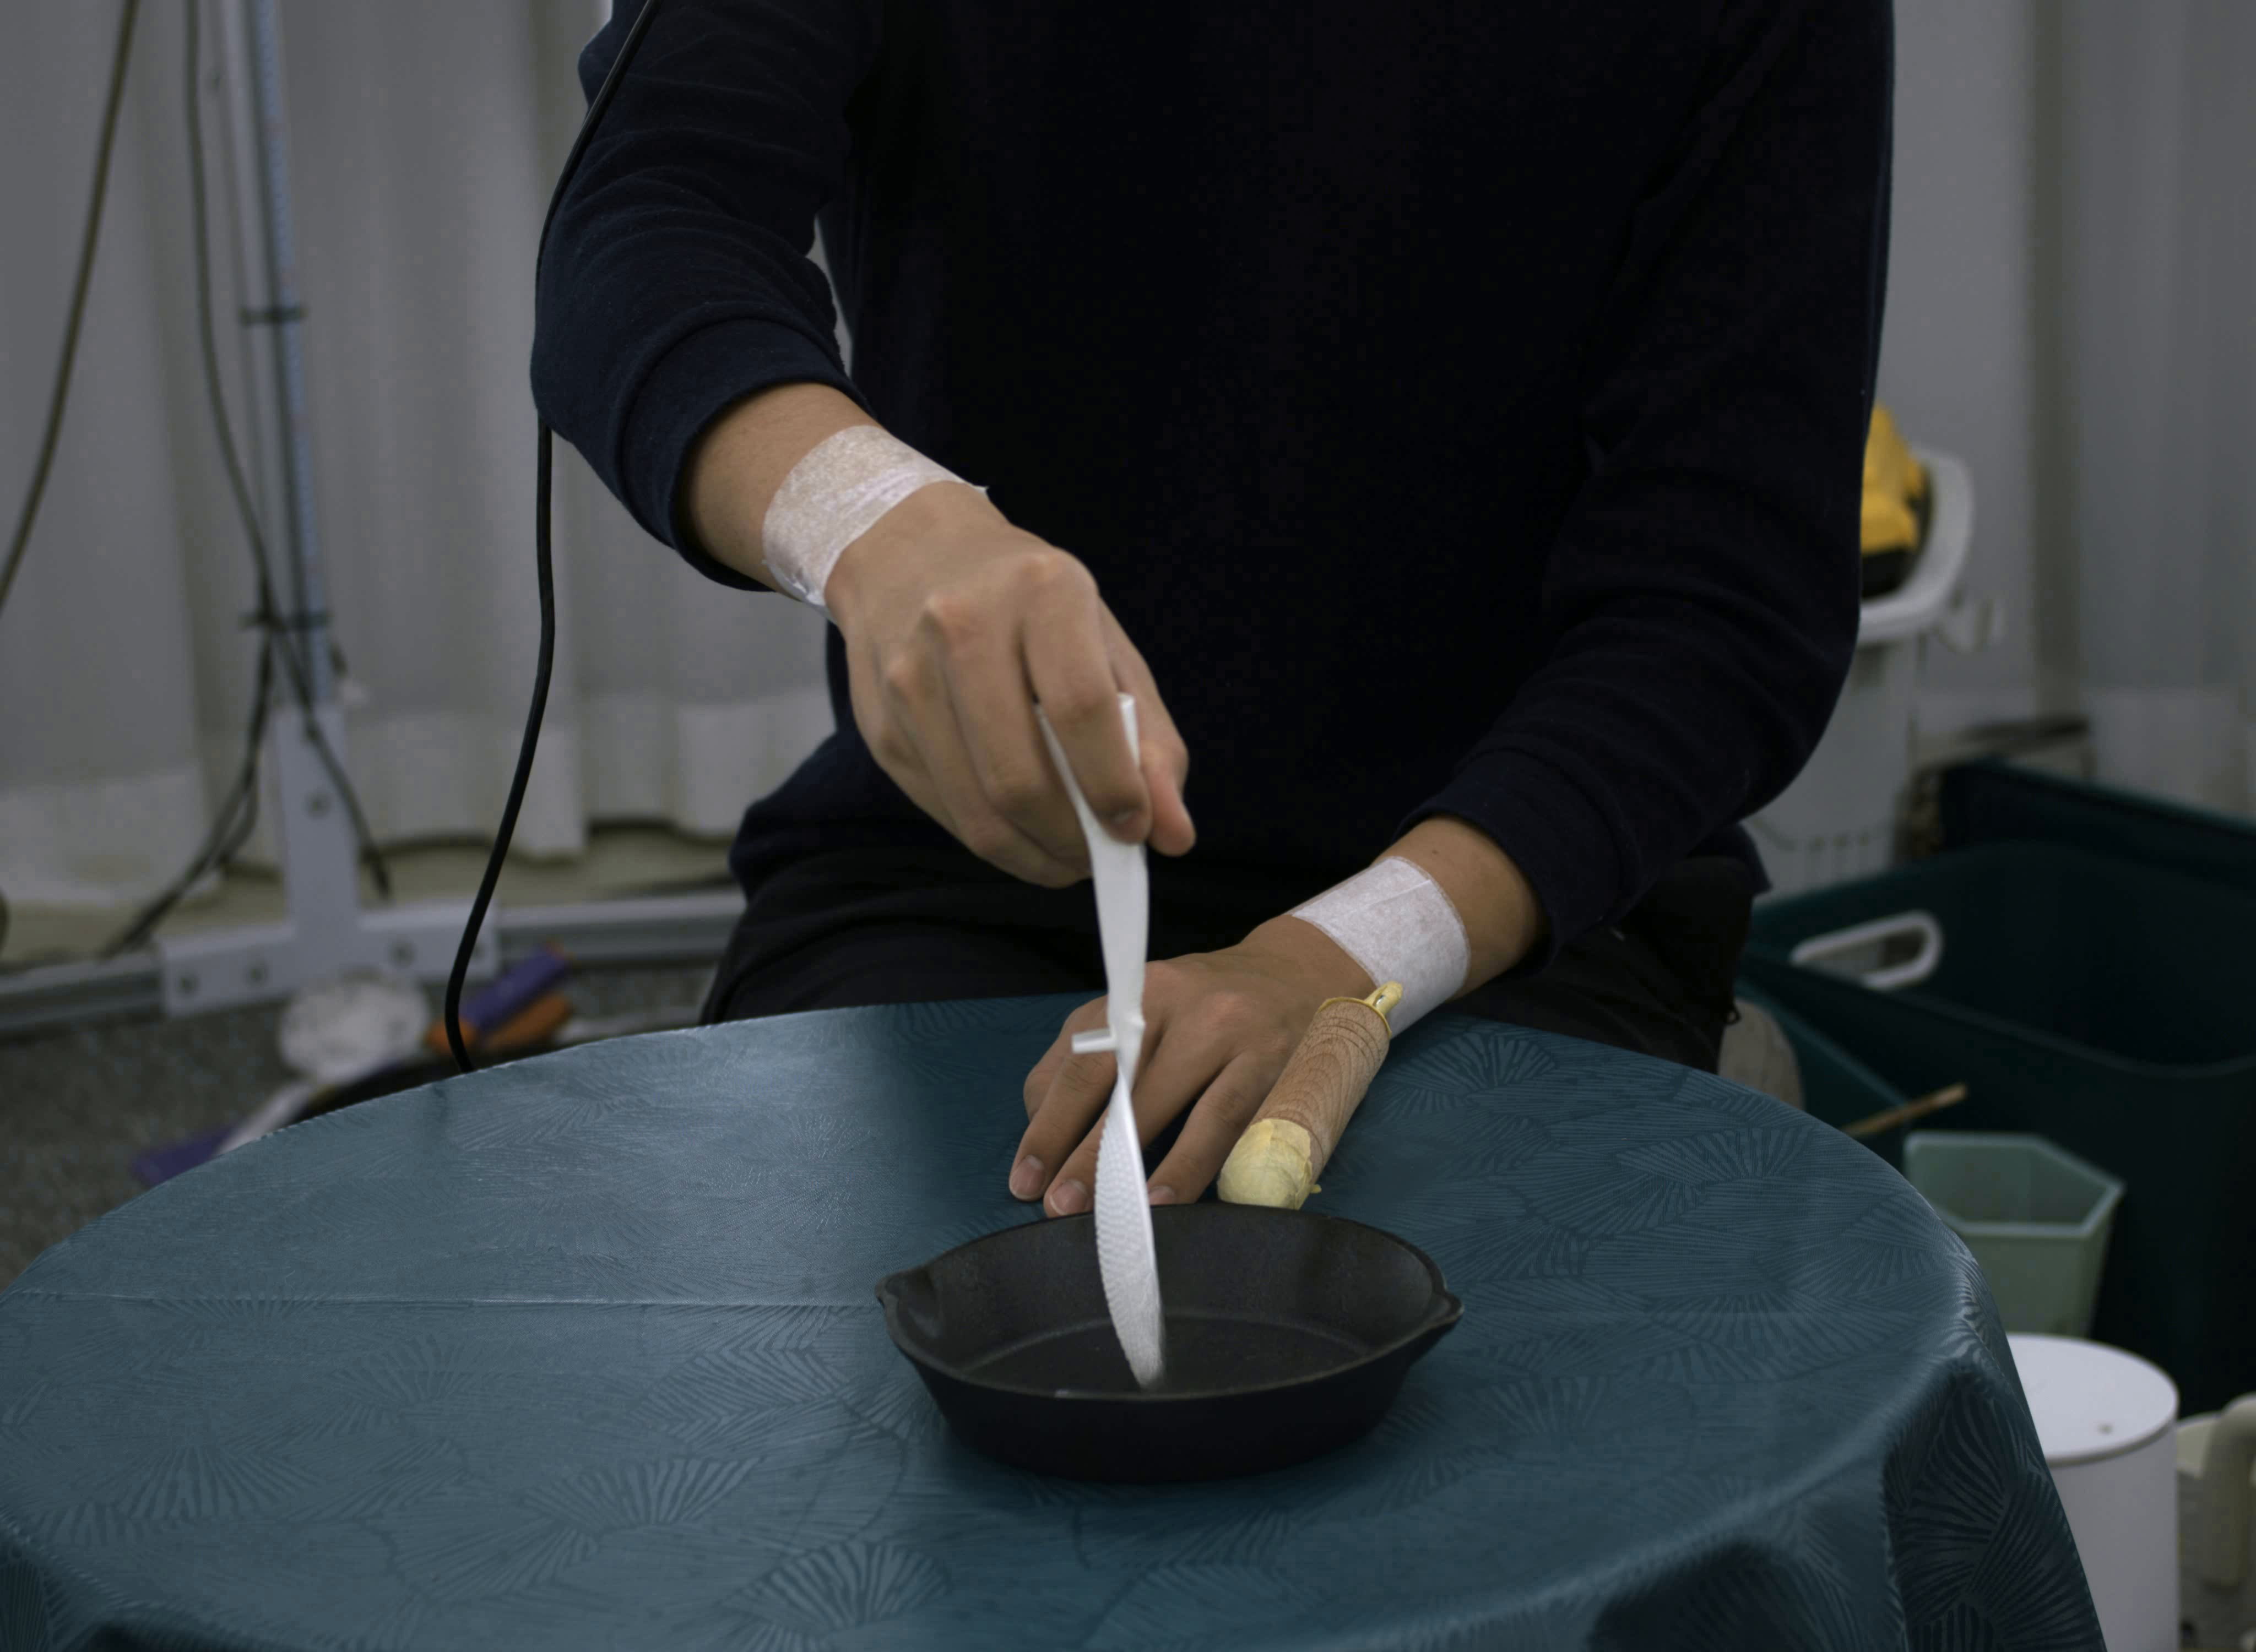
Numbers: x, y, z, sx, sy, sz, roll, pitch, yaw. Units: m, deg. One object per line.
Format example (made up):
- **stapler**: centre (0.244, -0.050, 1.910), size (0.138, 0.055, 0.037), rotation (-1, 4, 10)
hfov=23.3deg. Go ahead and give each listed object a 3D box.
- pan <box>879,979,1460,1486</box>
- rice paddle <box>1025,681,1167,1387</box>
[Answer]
- **pan**: centre (0.036, 0.116, 1.607), size (0.169, 0.049, 0.325), rotation (2, 17, 18)
- **rice paddle**: centre (0.000, 0.063, 1.501), size (0.029, 0.205, 0.069), rotation (-8, 11, 2)
